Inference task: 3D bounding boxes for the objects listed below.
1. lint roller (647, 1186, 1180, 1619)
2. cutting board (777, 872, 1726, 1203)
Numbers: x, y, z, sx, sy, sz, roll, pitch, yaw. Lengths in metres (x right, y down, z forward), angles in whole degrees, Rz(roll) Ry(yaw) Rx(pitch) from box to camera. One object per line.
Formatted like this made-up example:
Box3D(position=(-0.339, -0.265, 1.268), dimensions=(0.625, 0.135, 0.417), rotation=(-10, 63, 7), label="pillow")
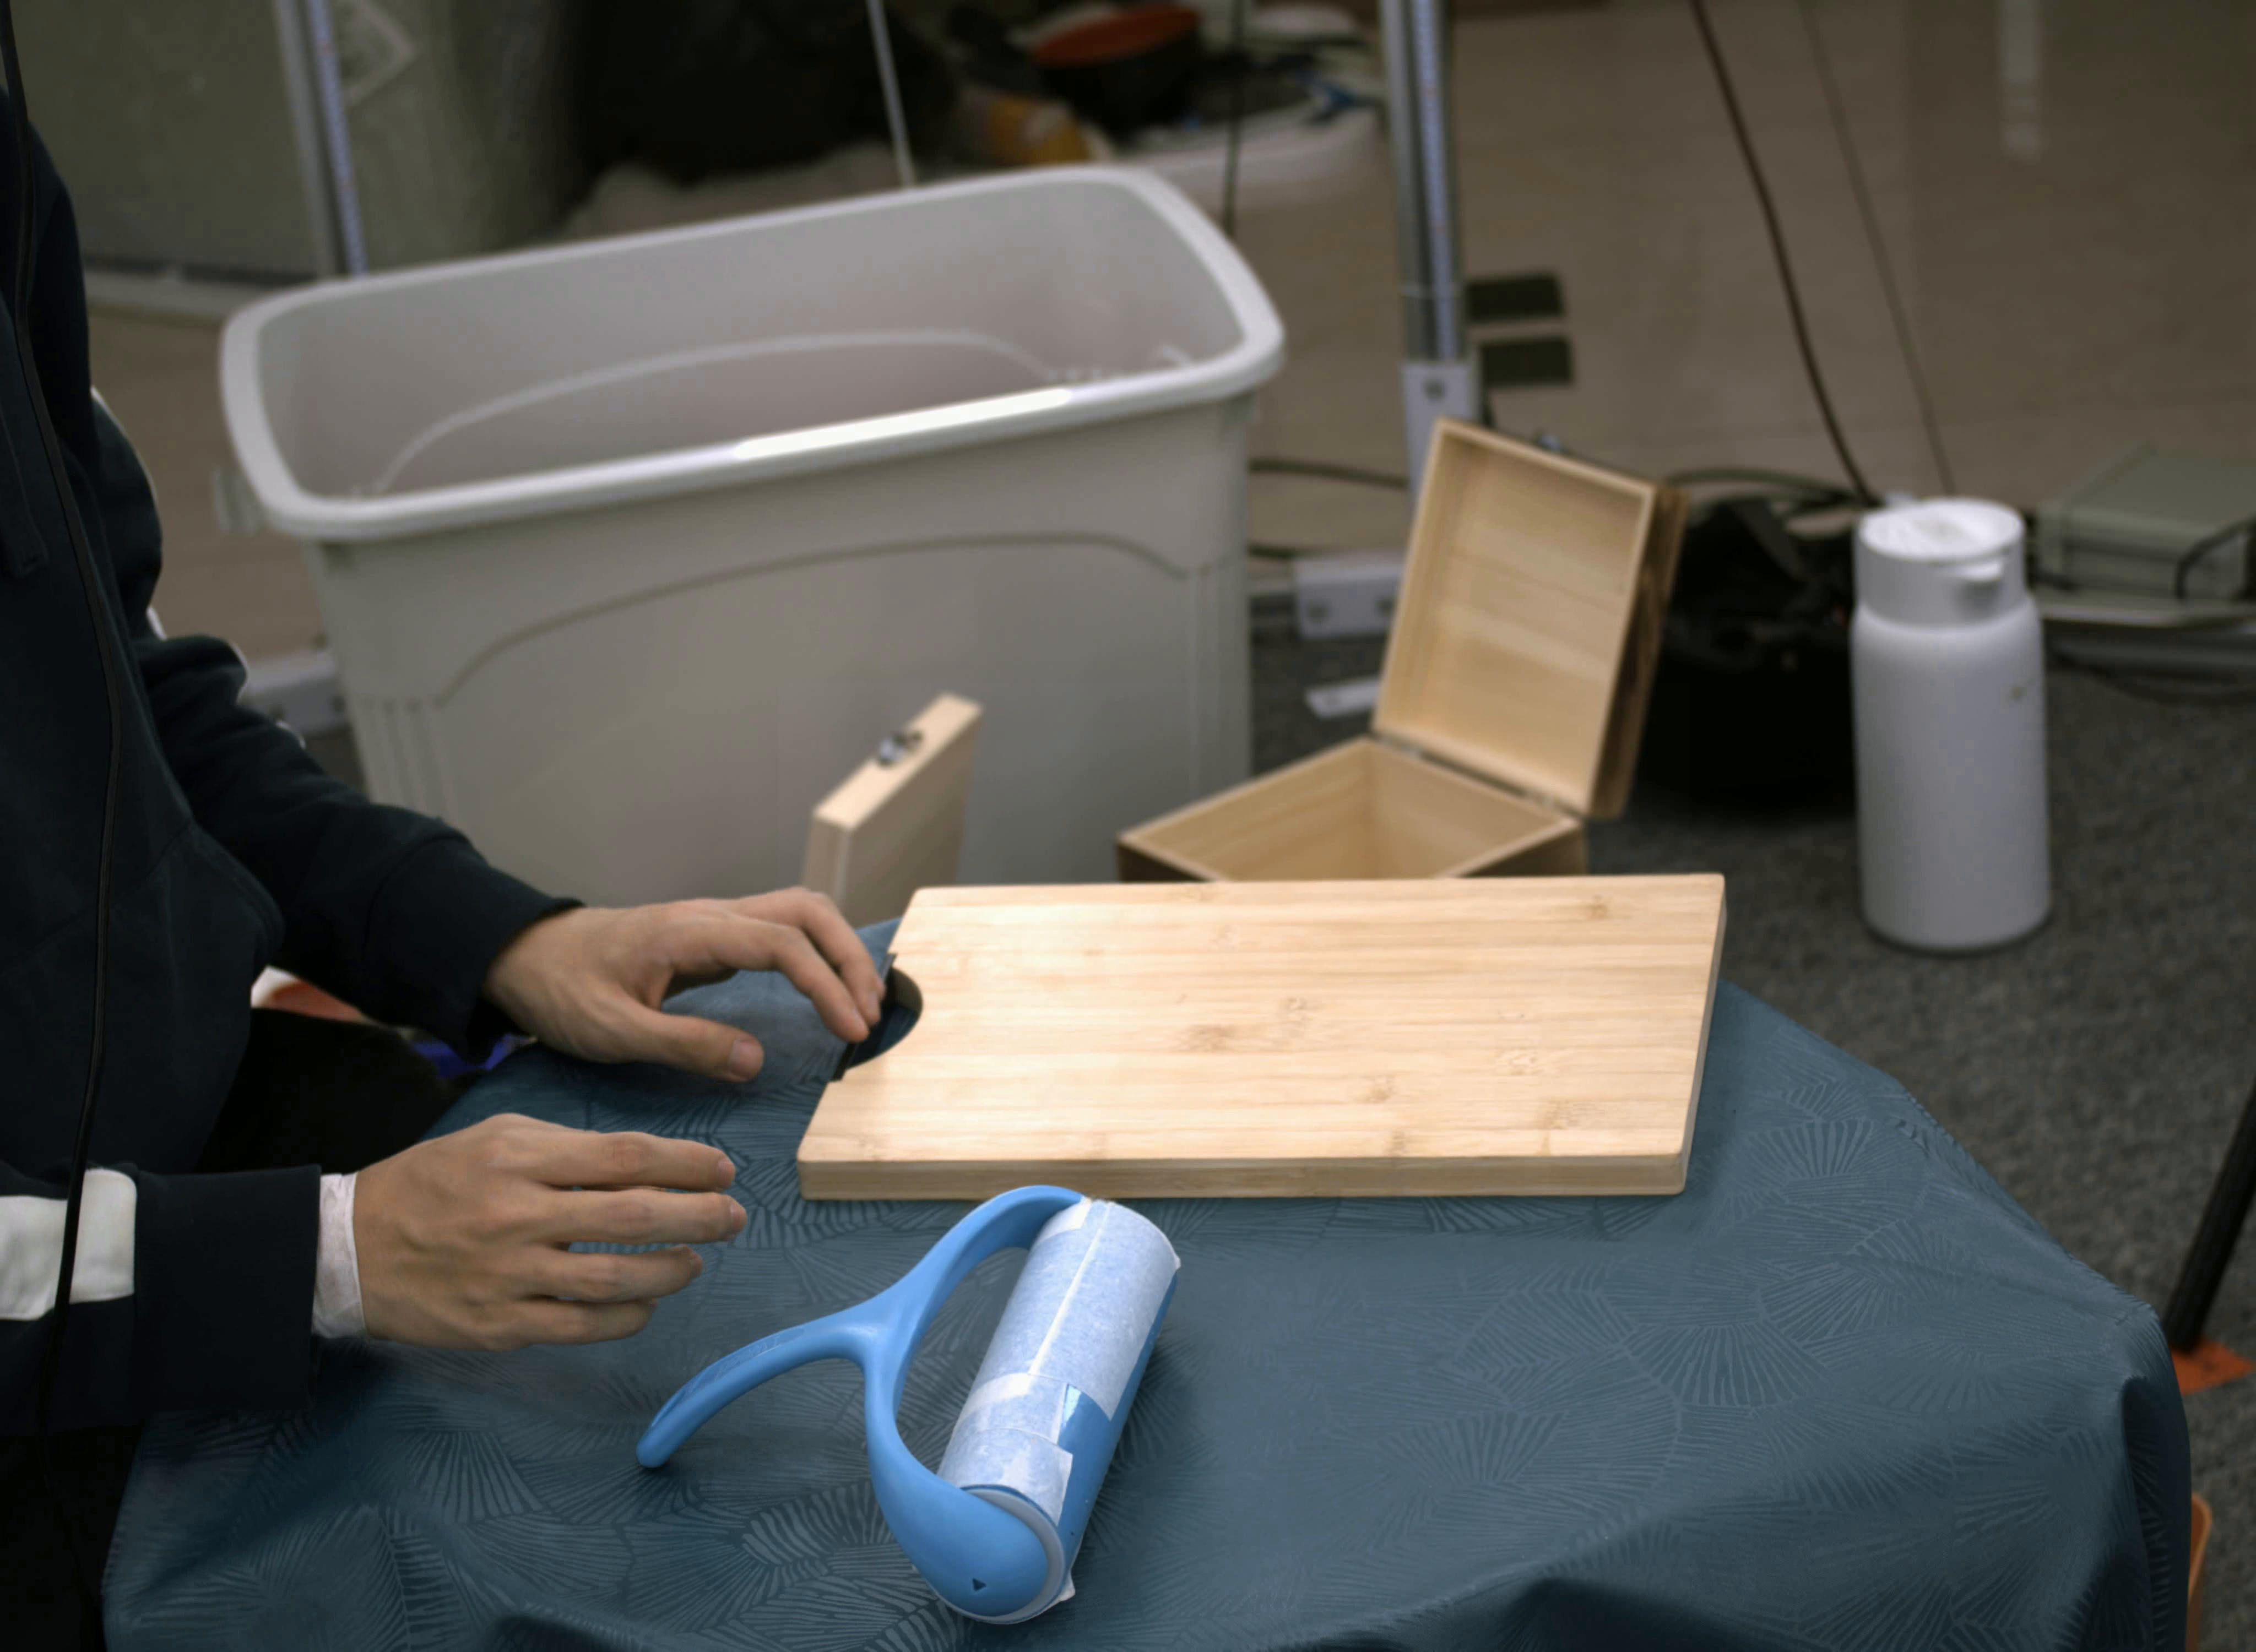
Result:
Box3D(position=(-0.084, 0.199, 1.968), dimensions=(0.180, 0.069, 0.225), rotation=(-1, 27, 10), label="lint roller")
Box3D(position=(0.055, 0.082, 2.234), dimensions=(0.348, 0.024, 0.247), rotation=(-1, 25, 10), label="cutting board")
